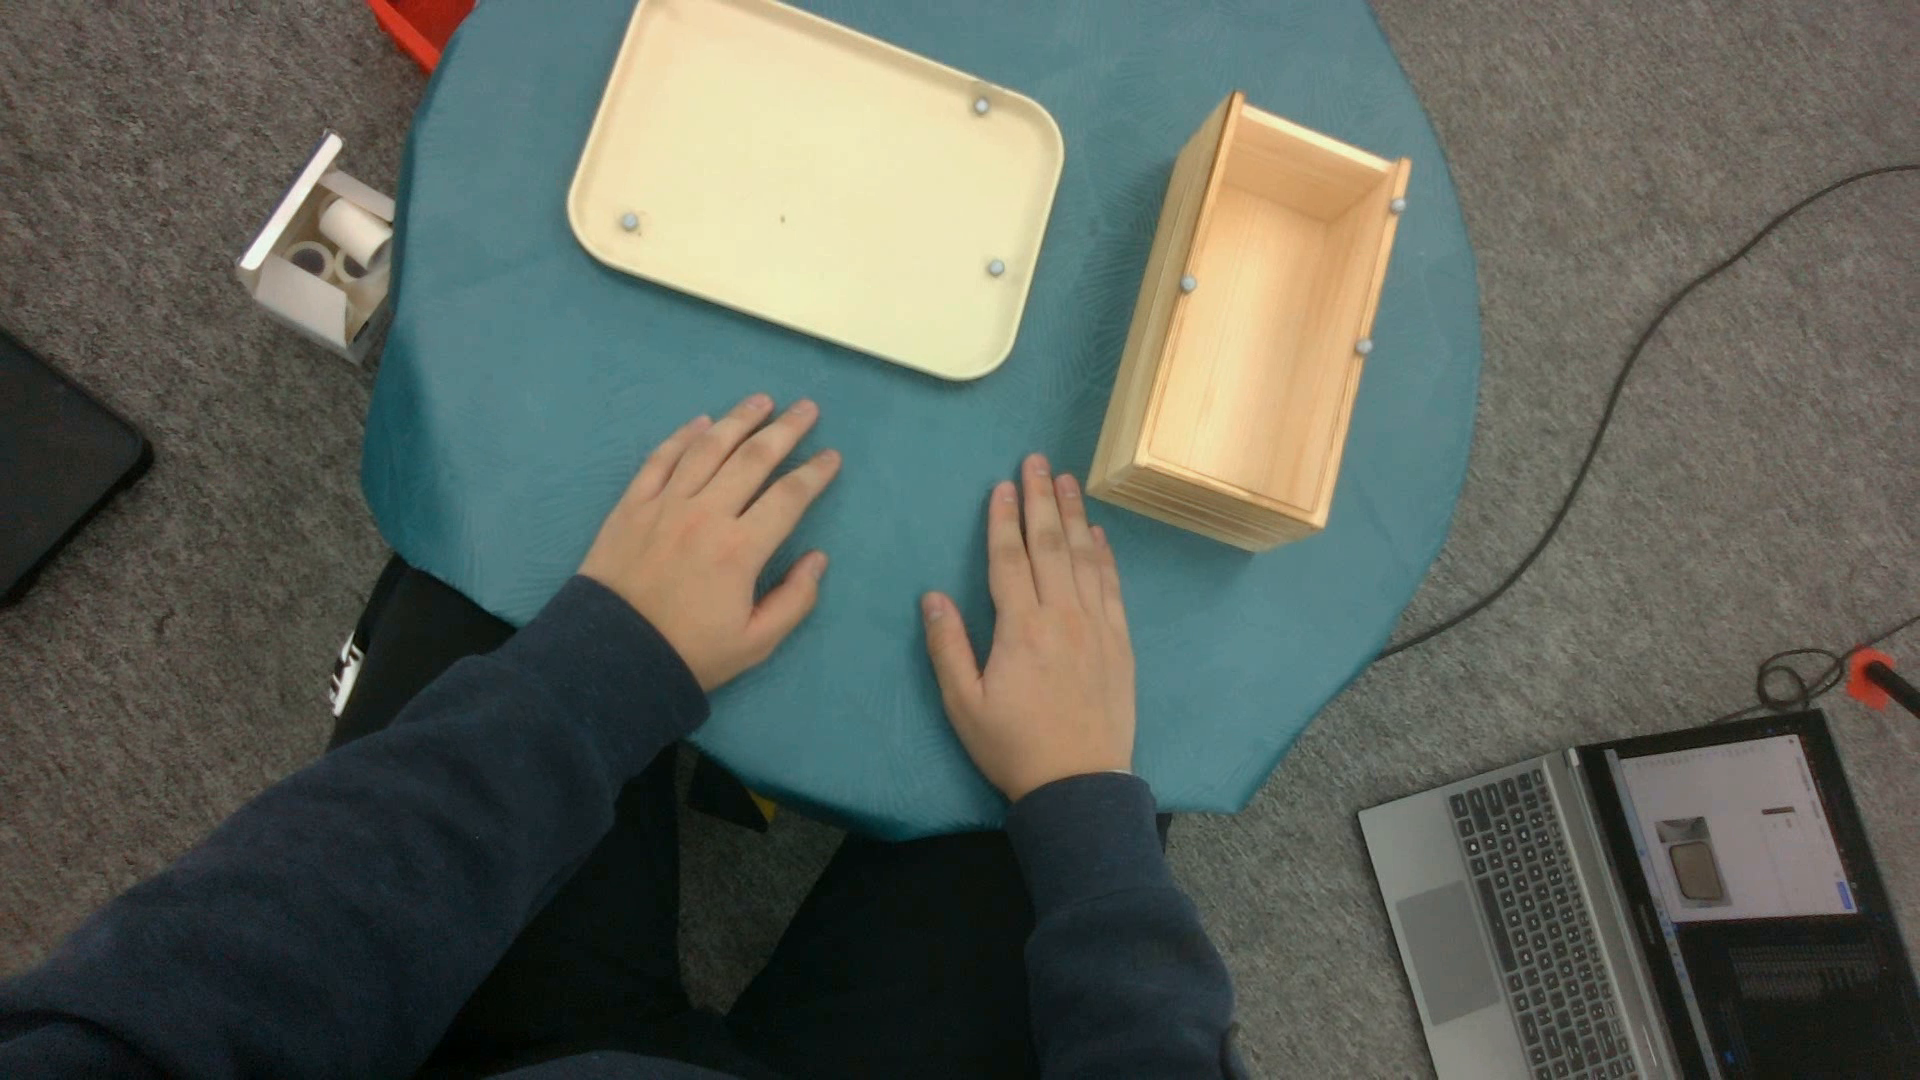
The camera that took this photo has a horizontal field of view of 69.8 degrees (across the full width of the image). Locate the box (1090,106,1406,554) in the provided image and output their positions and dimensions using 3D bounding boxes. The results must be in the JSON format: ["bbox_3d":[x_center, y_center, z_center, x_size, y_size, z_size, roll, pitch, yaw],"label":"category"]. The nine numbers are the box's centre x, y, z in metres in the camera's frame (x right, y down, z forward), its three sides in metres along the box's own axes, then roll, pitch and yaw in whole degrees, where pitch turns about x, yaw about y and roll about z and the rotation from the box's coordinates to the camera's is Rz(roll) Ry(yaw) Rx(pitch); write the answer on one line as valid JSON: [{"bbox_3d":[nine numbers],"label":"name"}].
[{"bbox_3d":[0.156,-0.111,0.751,0.107,0.080,0.212,18,76,-8],"label":"box"}]

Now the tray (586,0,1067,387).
[{"bbox_3d":[-0.068,-0.187,0.748,0.240,0.017,0.171,17,77,-9],"label":"tray"}]
